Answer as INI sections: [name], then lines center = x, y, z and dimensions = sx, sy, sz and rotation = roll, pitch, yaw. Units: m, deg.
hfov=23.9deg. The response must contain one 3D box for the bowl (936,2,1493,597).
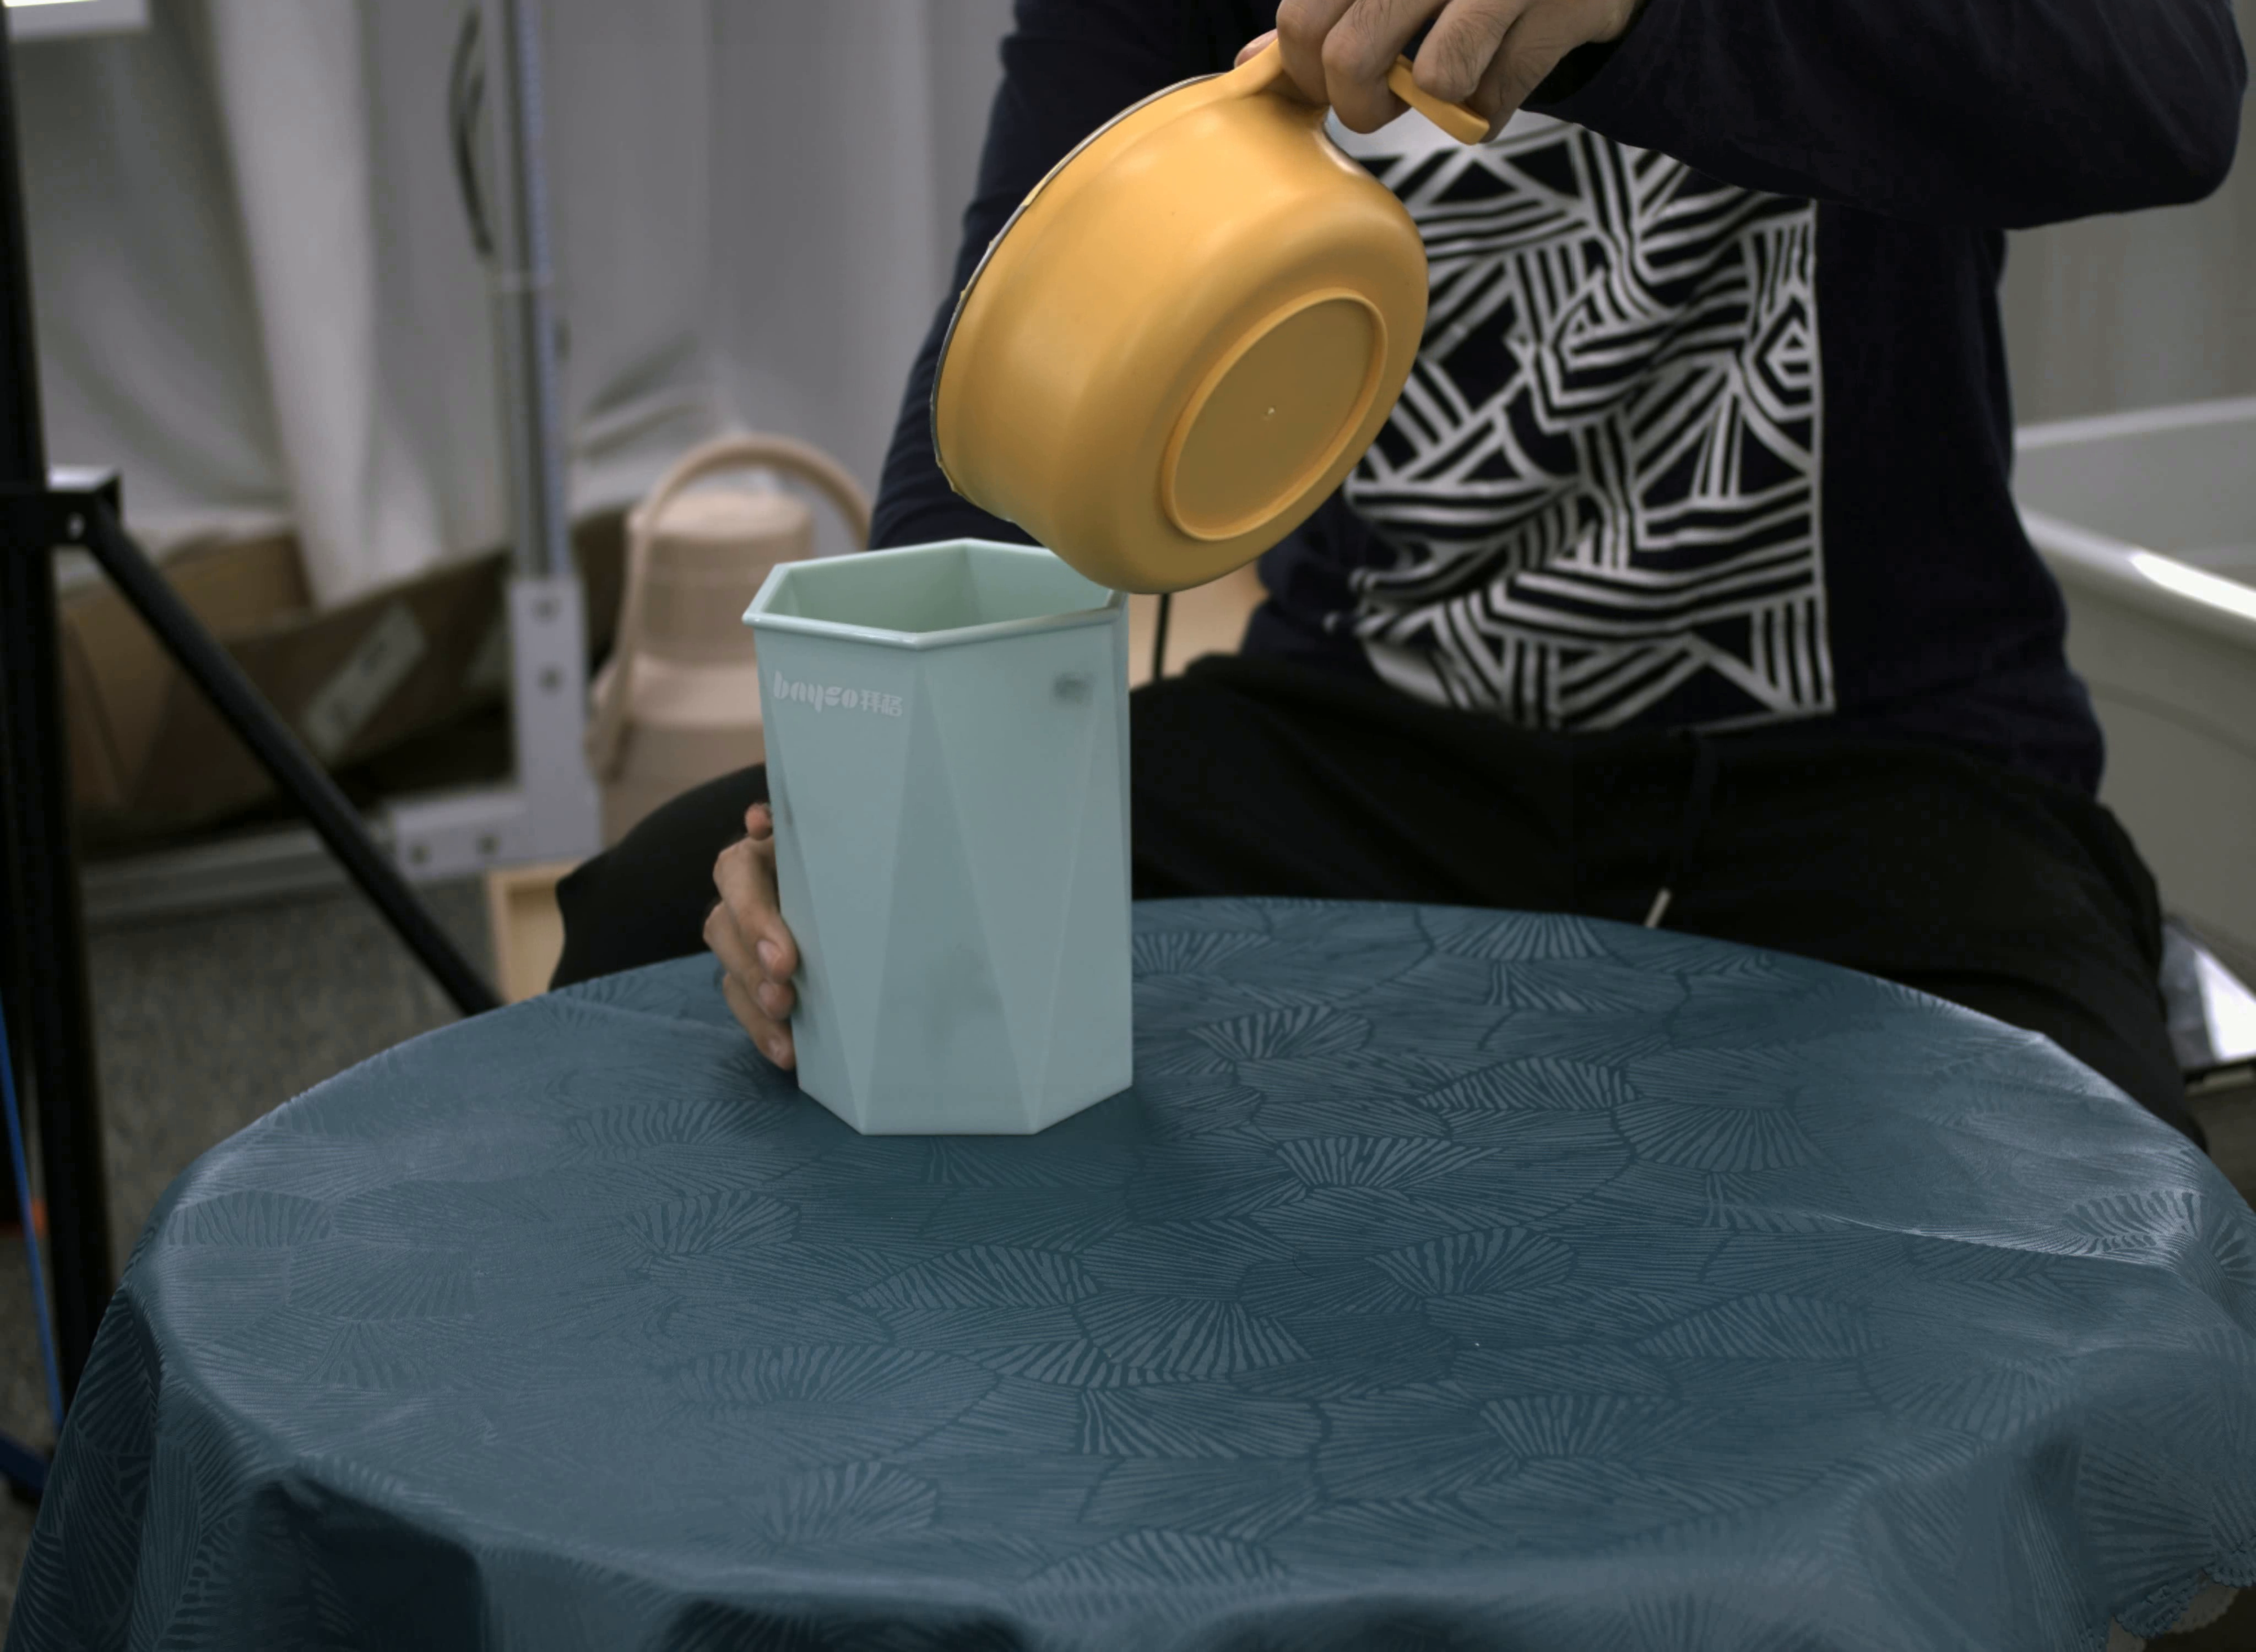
[bowl]
center = 0.029, -0.148, 1.538
dimensions = 0.076, 0.180, 0.149
rotation = 42, 13, 32

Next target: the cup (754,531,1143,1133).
[cup]
center = -0.053, 0.003, 1.639
dimensions = 0.133, 0.163, 0.113
rotation = 10, 18, 33
